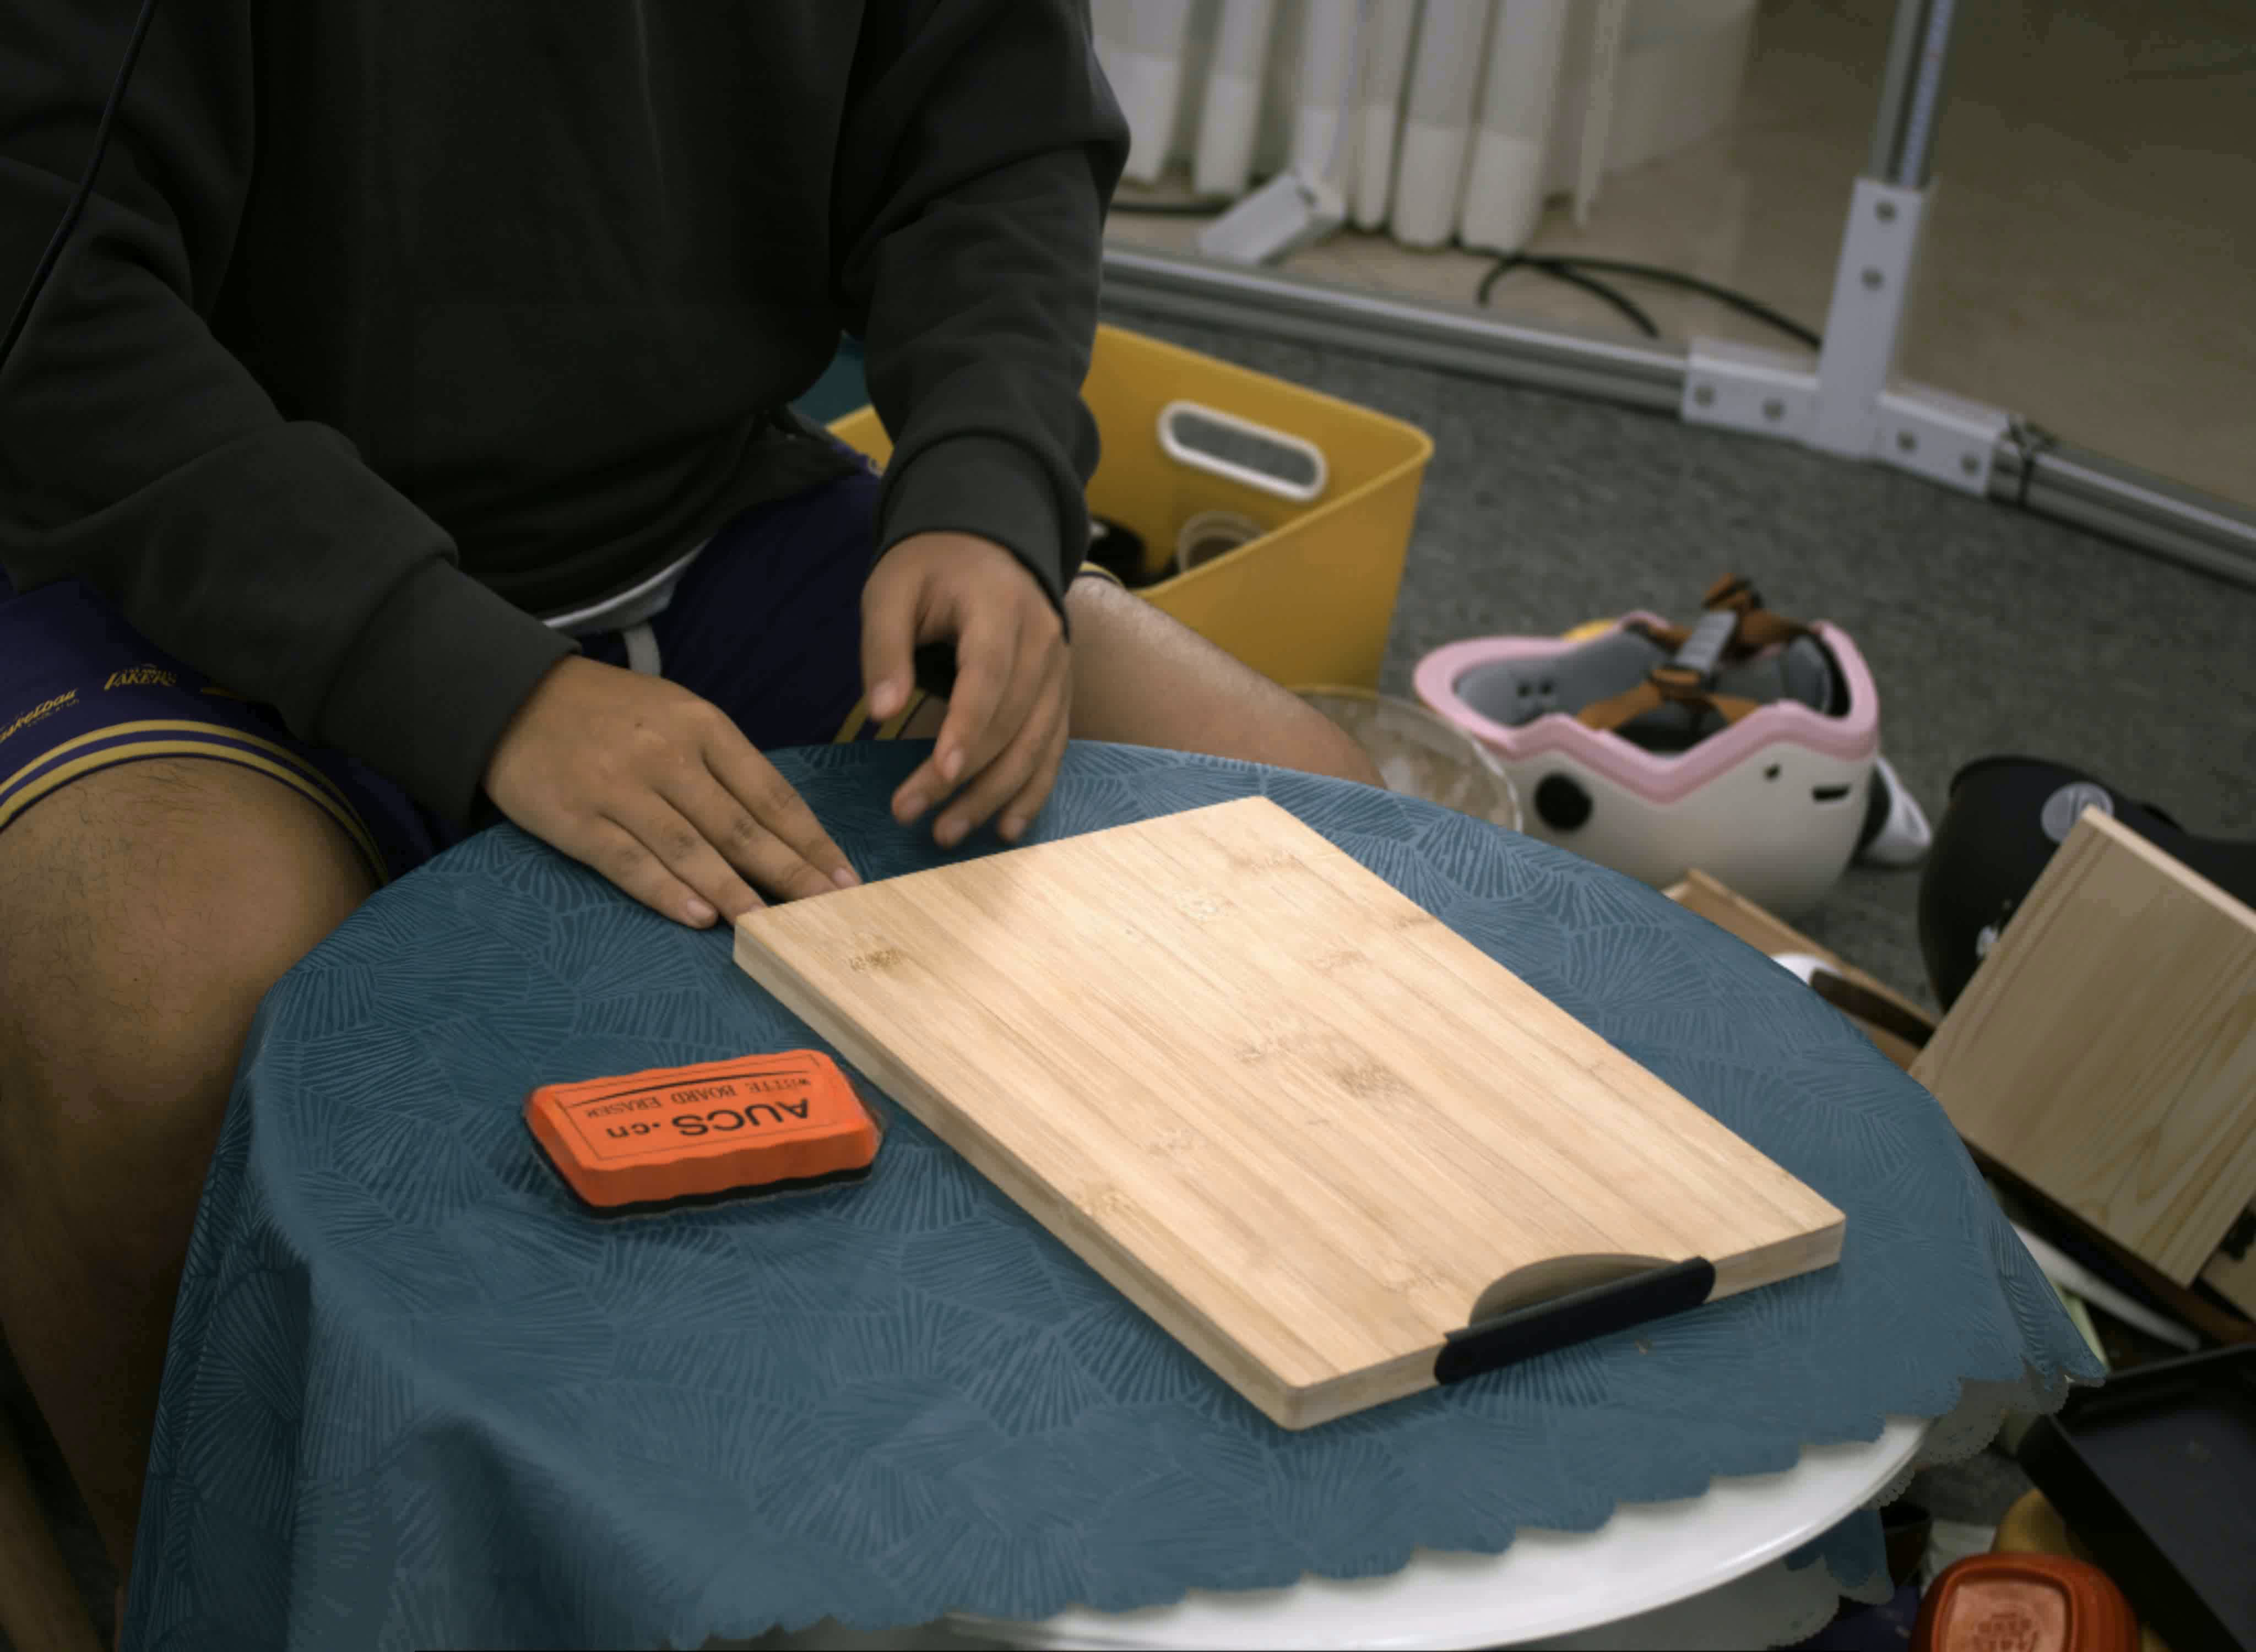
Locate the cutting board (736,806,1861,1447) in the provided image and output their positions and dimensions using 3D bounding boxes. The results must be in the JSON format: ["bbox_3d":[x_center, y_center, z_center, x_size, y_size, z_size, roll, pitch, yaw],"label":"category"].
[{"bbox_3d":[0.053,0.093,1.855,0.249,0.023,0.352,-13,33,-34],"label":"cutting board"}]

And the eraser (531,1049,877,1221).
[{"bbox_3d":[-0.142,0.103,1.783,0.107,0.023,0.059,-6,31,-25],"label":"eraser"}]
